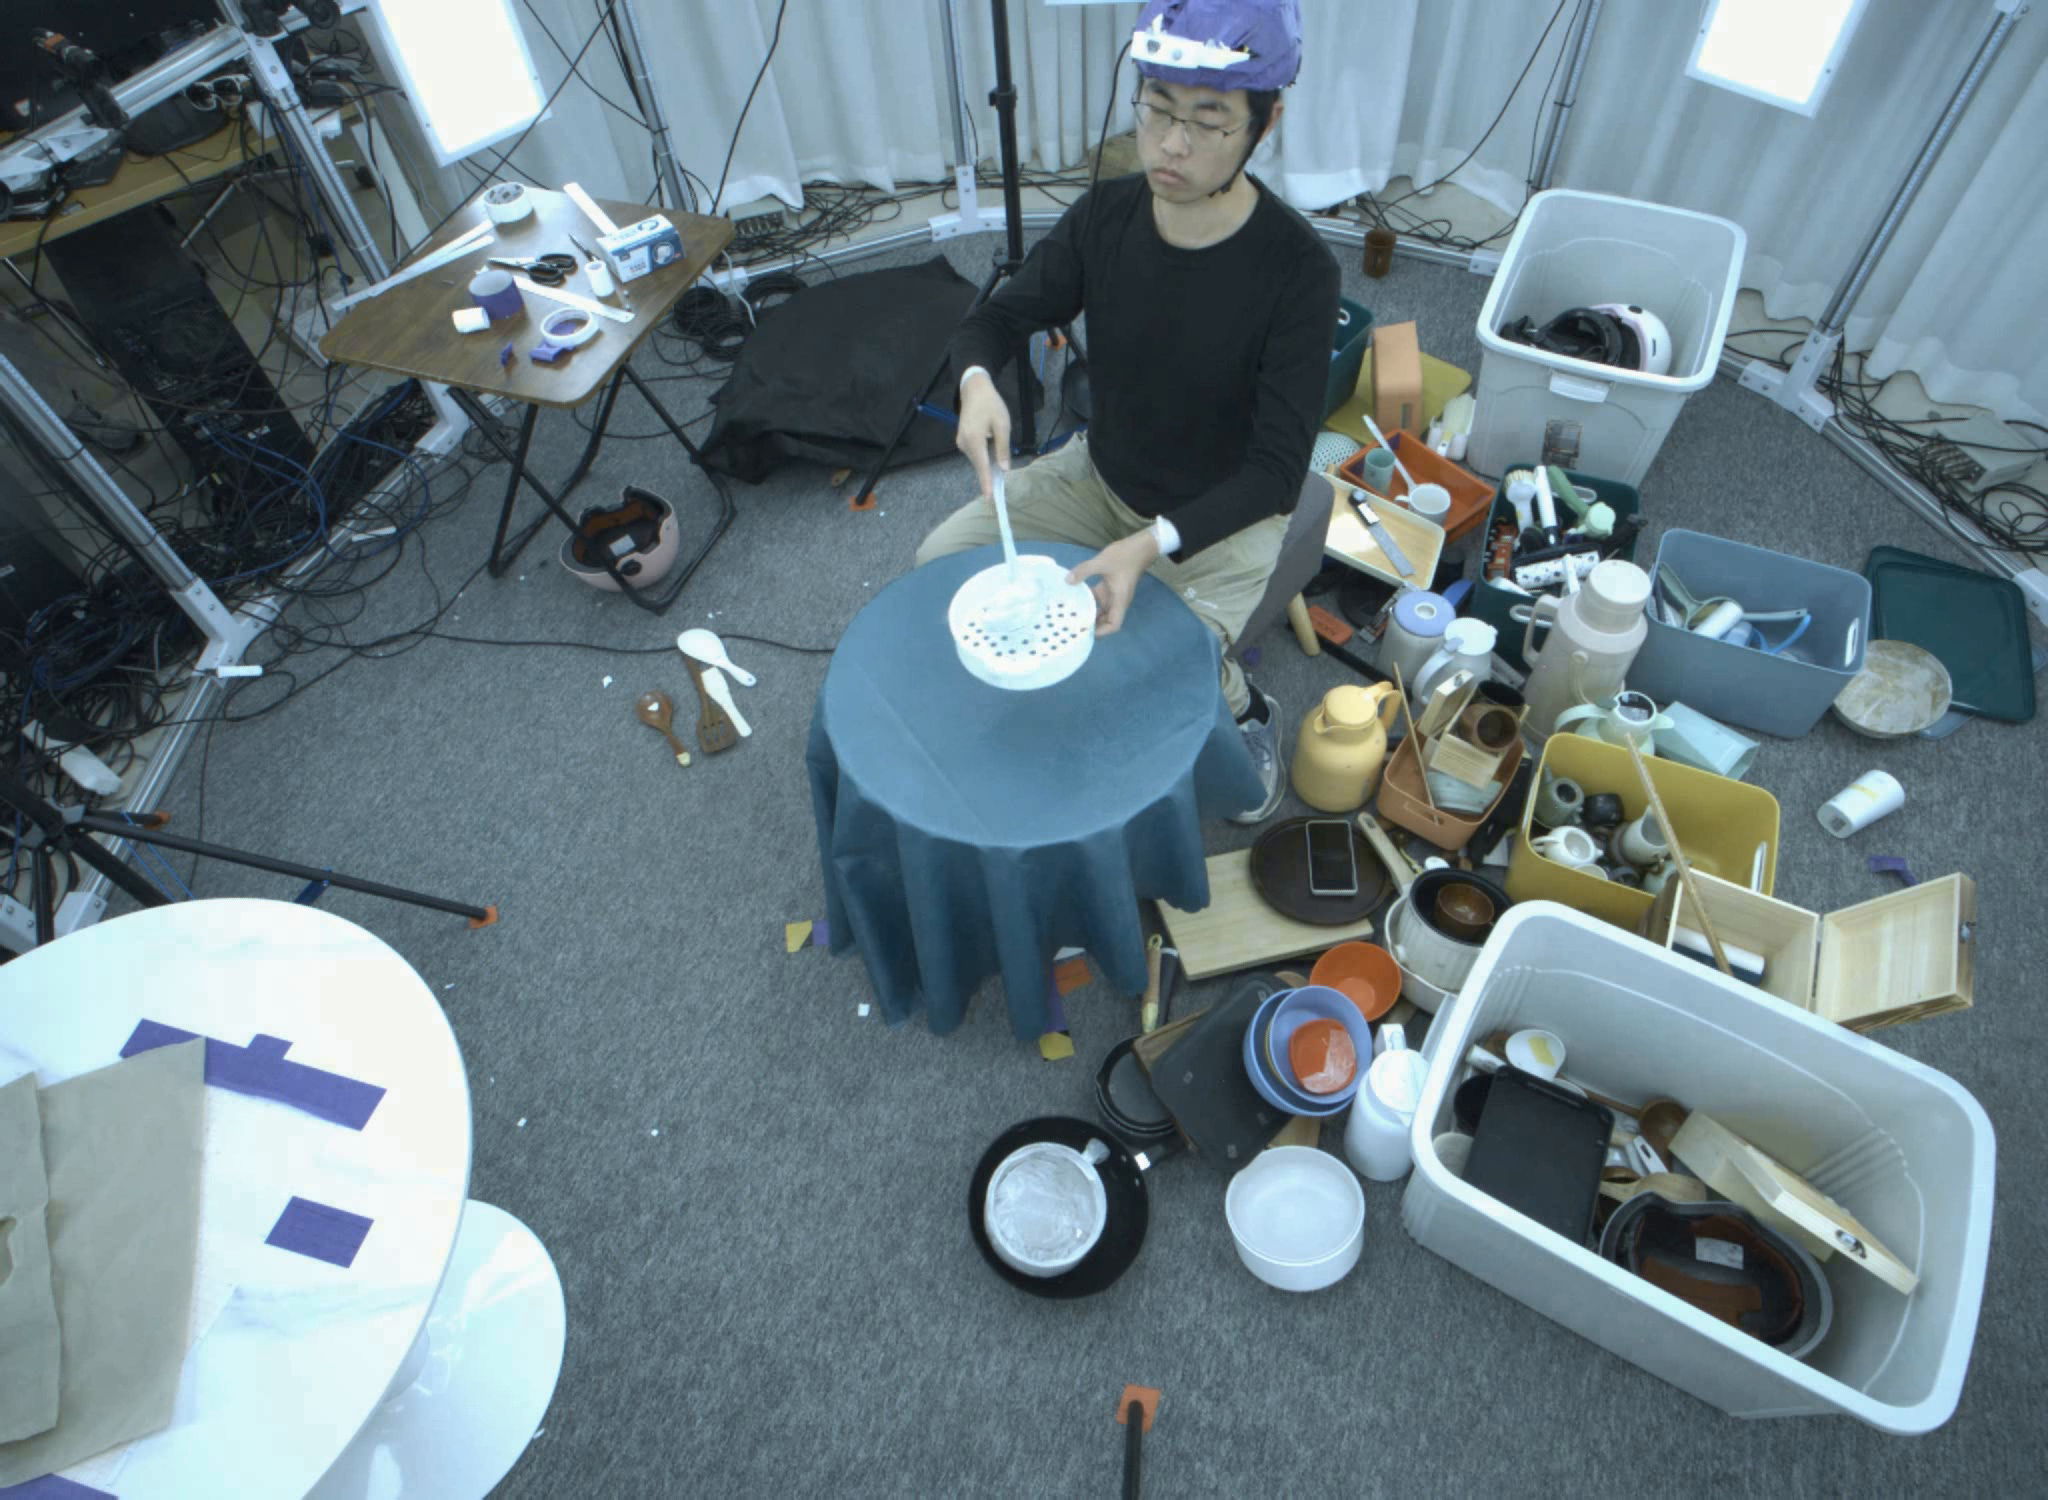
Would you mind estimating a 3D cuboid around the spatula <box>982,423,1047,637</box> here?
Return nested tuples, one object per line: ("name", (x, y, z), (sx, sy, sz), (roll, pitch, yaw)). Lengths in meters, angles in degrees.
("spatula", (-0.029, -0.318, 1.704), (0.097, 0.045, 0.361), (-16, 69, 21))

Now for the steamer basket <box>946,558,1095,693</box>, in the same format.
("steamer basket", (-0.004, -0.167, 1.685), (0.201, 0.070, 0.229), (6, 50, 6))
